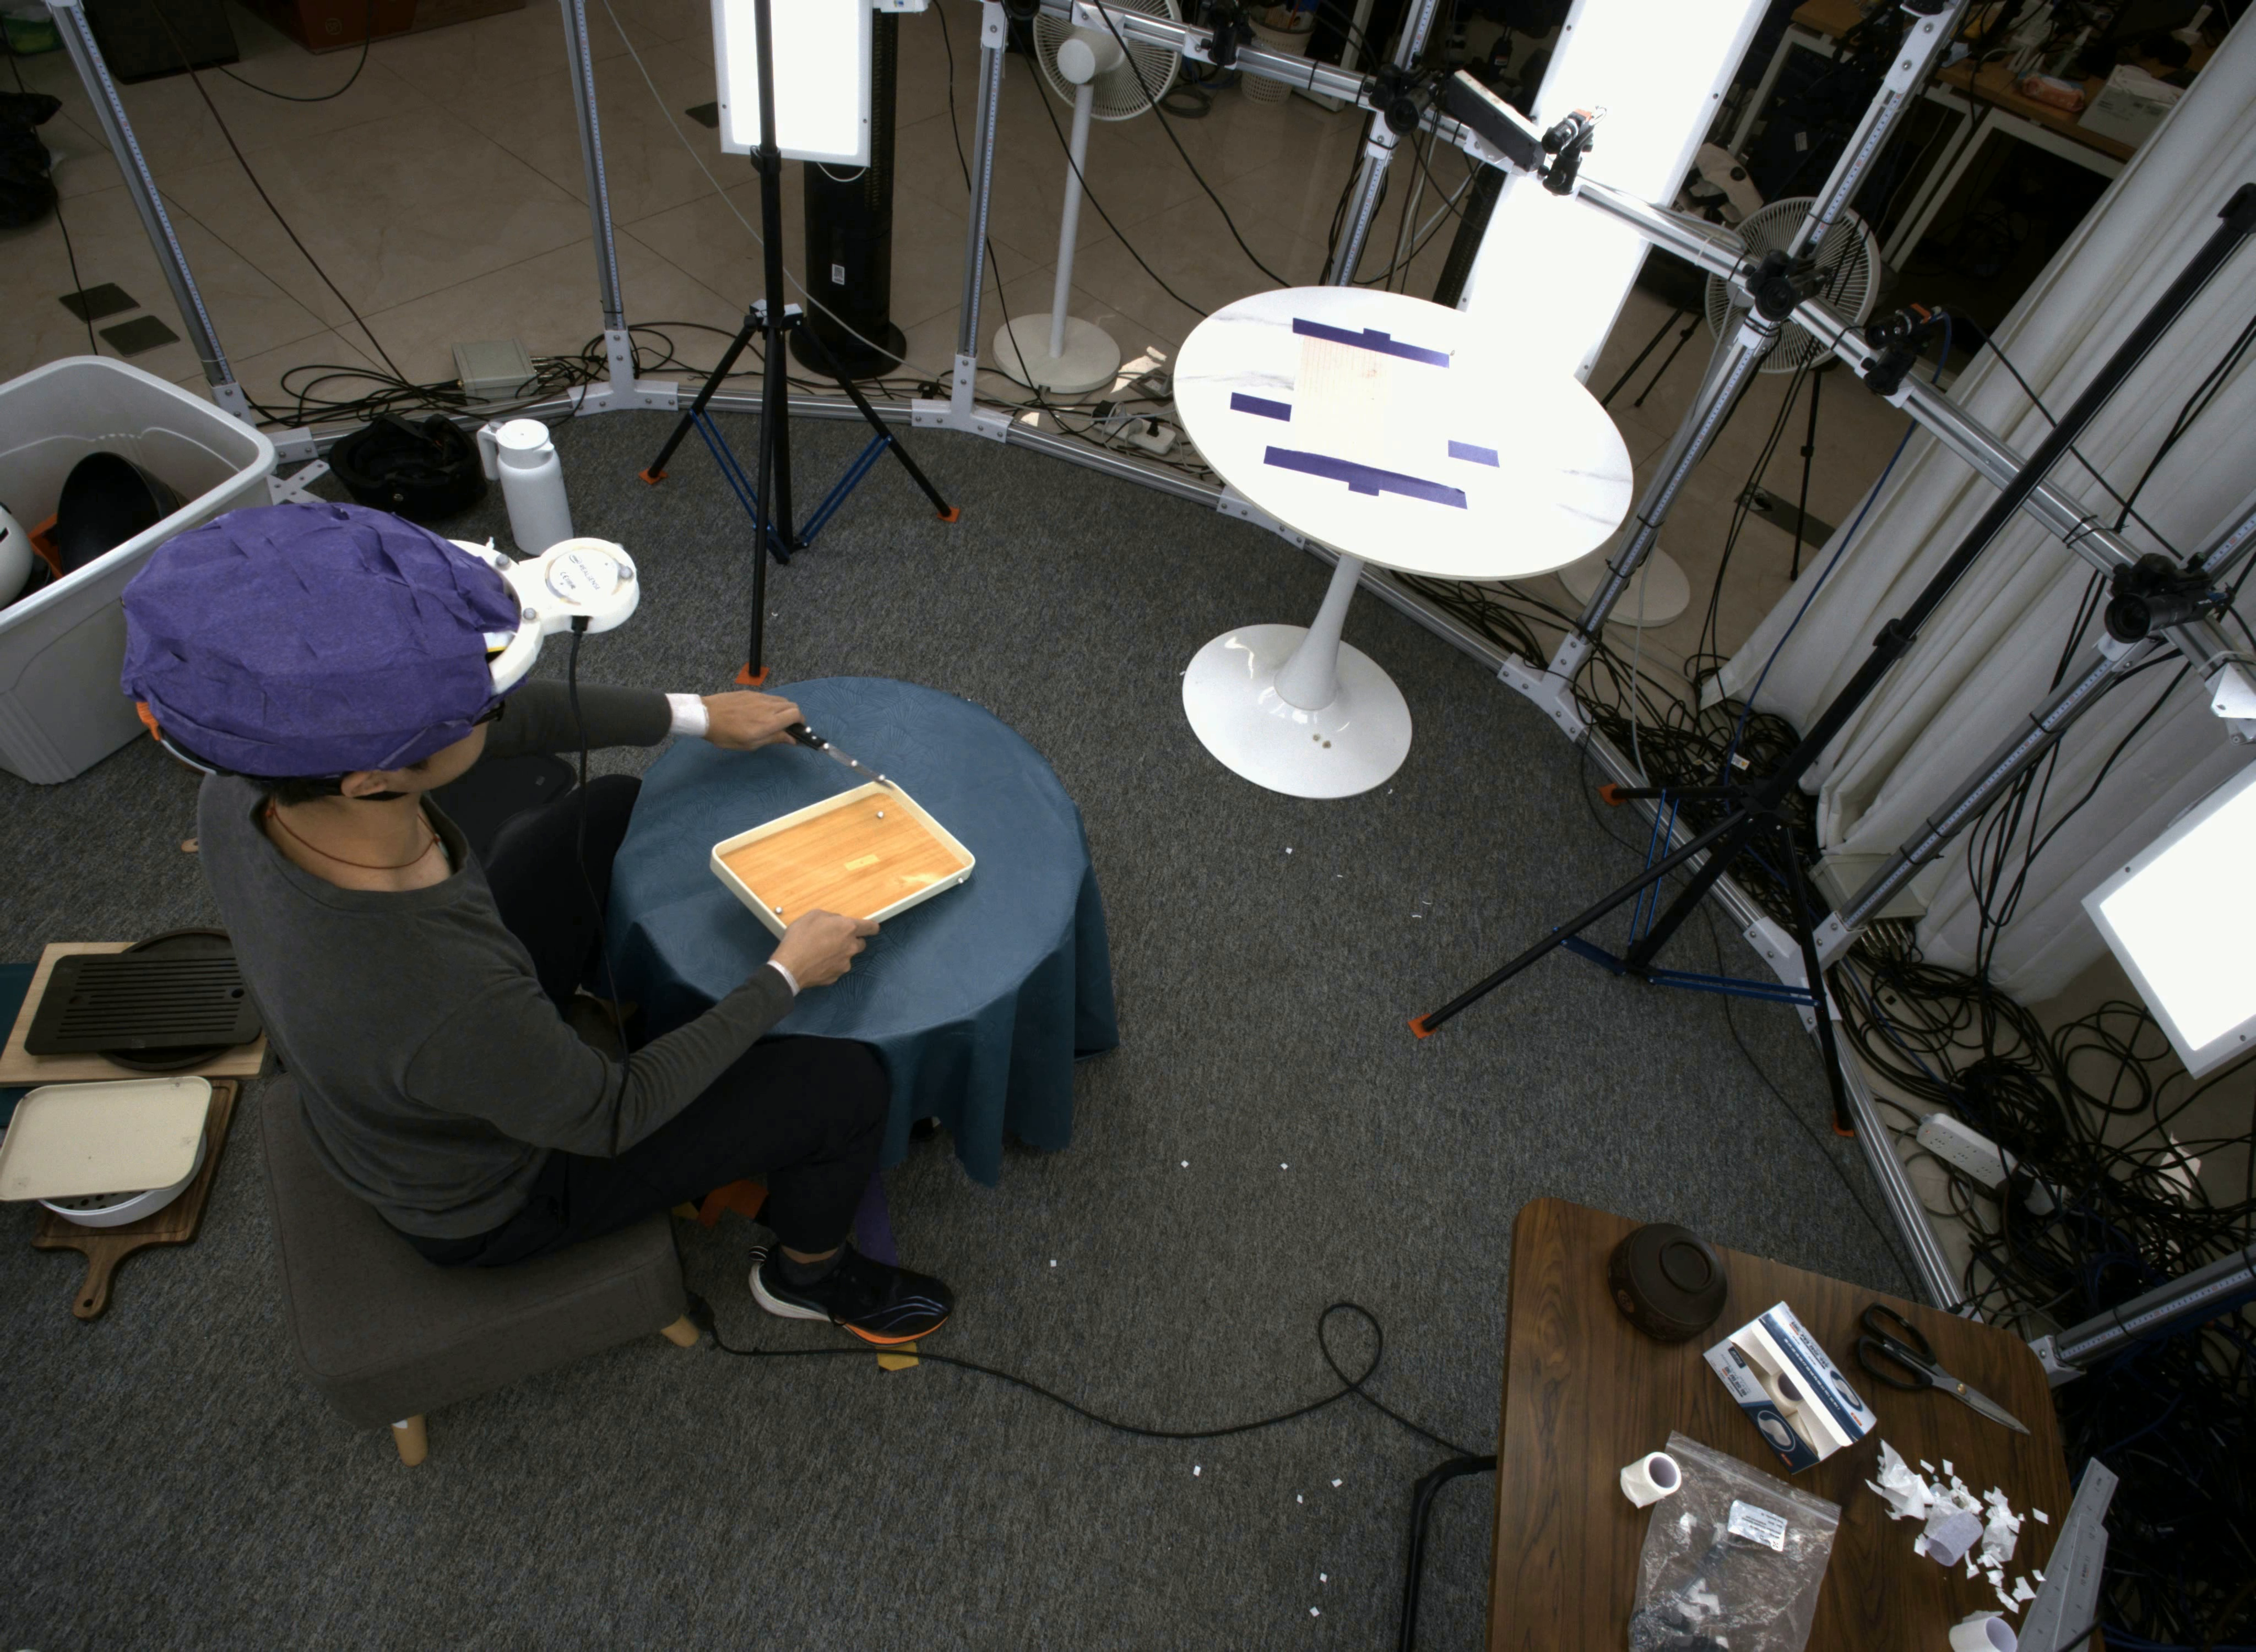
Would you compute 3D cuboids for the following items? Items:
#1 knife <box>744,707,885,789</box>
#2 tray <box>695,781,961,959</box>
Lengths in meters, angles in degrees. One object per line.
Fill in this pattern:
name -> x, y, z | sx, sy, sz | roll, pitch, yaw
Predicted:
knife -> -0.420, -0.102, 1.721 | 0.233, 0.016, 0.024 | 28, 35, 13
tray -> -0.374, 0.046, 1.646 | 0.187, 0.028, 0.302 | 40, 39, 18
